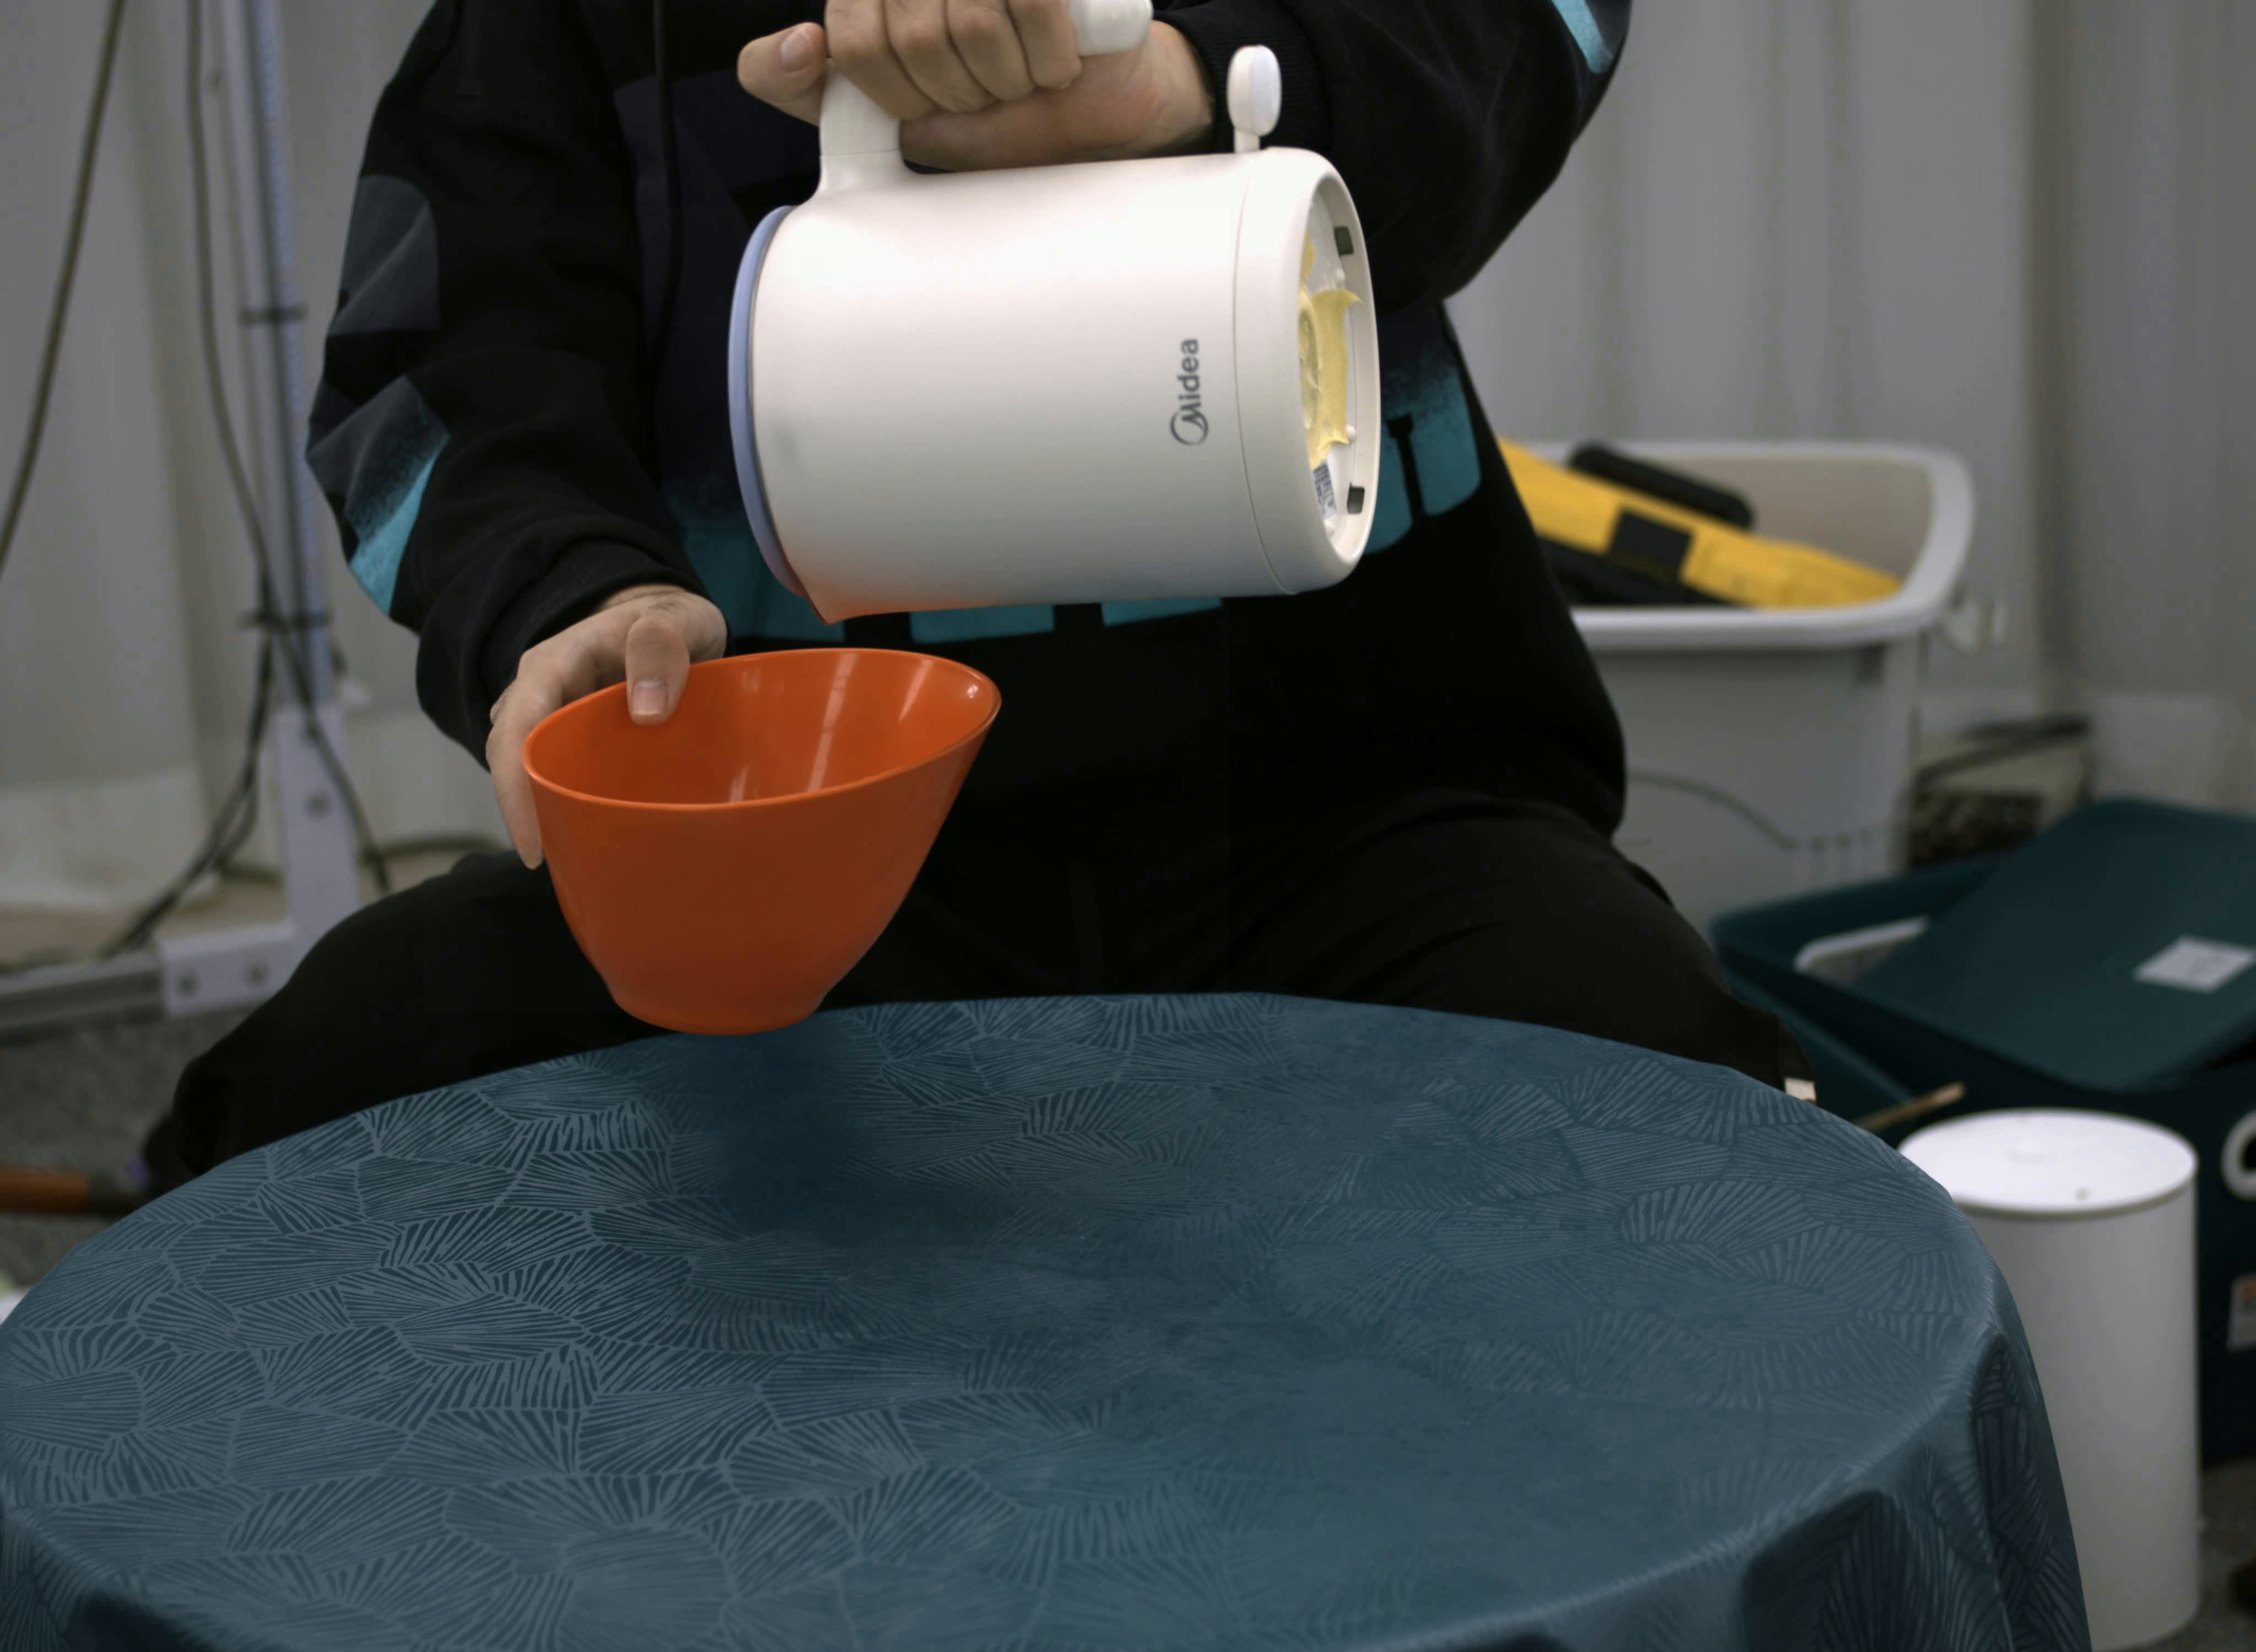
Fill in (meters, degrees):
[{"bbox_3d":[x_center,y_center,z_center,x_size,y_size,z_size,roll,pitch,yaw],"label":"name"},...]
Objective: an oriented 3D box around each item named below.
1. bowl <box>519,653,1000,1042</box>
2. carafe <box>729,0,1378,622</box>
[{"bbox_3d":[-0.116,0.008,1.694,0.147,0.104,0.149,4,21,-2],"label":"bowl"},{"bbox_3d":[-0.020,-0.156,1.632,0.182,0.191,0.132,0,7,13],"label":"carafe"}]
